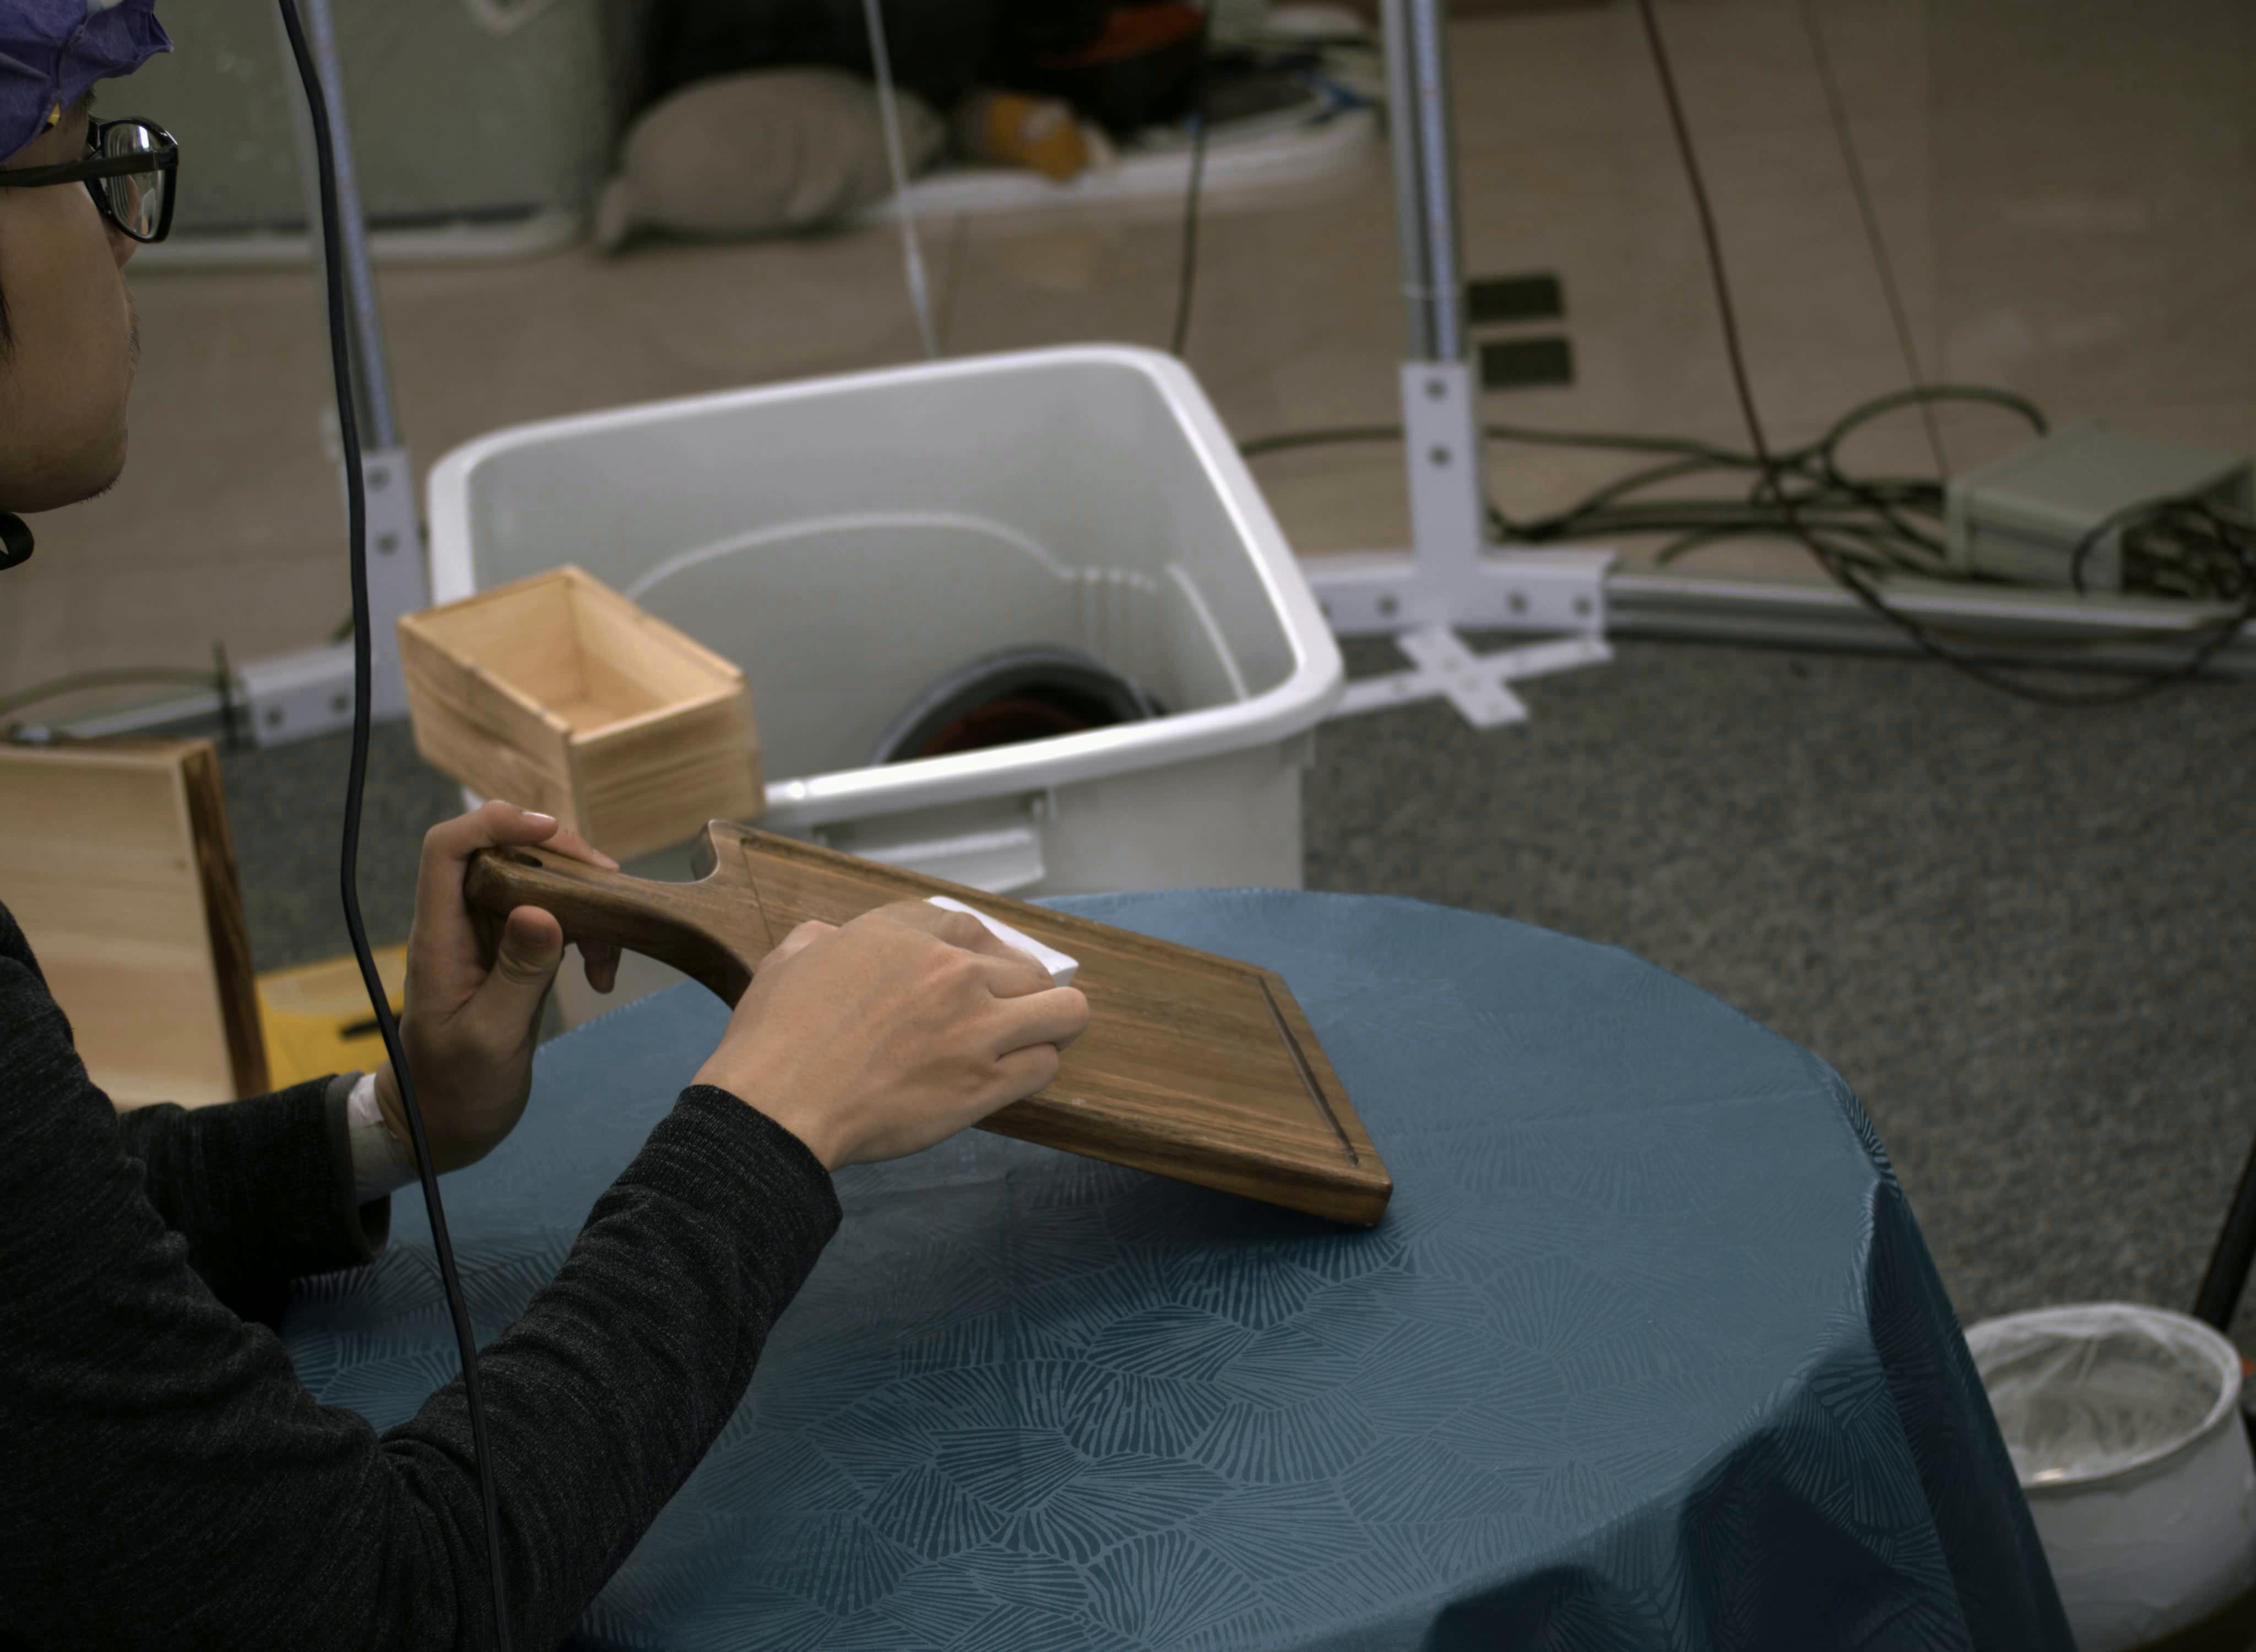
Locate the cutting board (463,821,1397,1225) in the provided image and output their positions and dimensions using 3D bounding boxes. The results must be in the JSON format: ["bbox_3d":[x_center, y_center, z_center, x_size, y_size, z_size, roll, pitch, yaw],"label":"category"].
[{"bbox_3d":[-0.080,0.061,2.127,0.353,0.023,0.198,15,19,-19],"label":"cutting board"}]

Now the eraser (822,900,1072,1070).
[{"bbox_3d":[-0.067,0.055,2.085,0.063,0.035,0.130,27,15,12],"label":"eraser"}]
